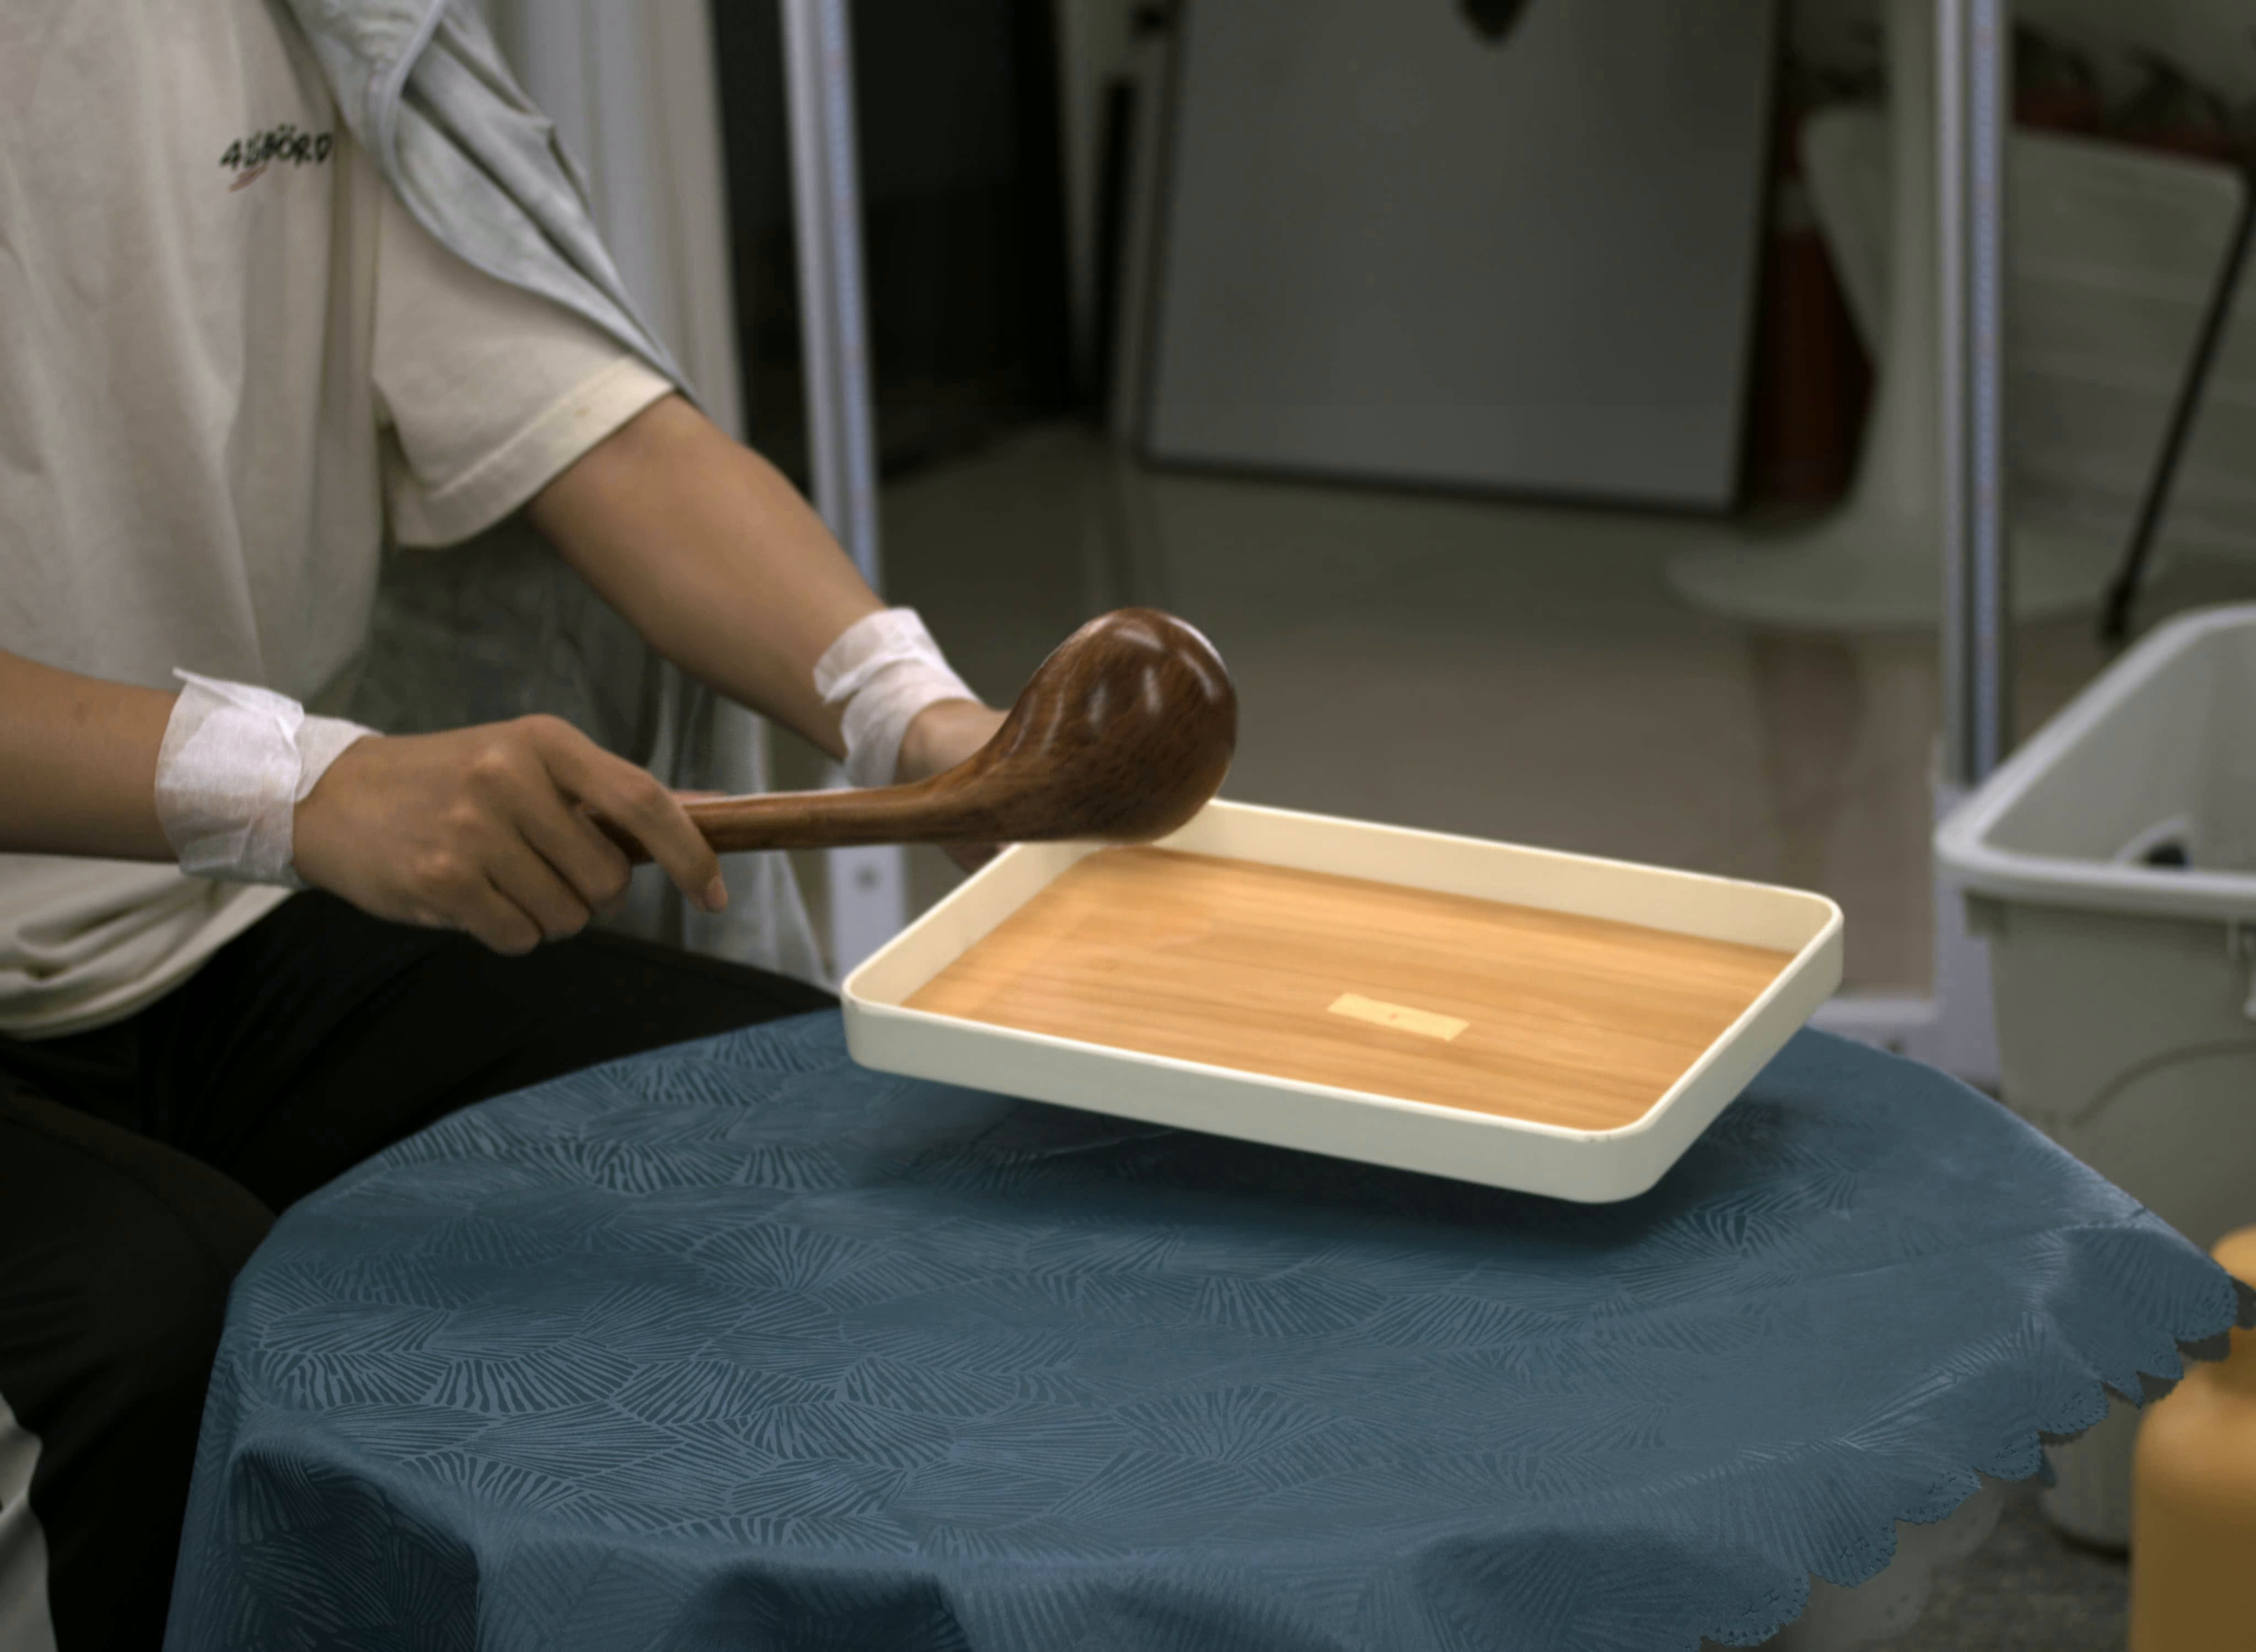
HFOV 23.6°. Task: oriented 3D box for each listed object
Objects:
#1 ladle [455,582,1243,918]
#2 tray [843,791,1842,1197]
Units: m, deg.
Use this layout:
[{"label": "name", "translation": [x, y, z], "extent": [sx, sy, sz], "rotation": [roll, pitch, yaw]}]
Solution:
[{"label": "ladle", "translation": [-0.092, -0.021, 1.768], "extent": [0.274, 0.082, 0.076], "rotation": [-9, 29, 26]}, {"label": "tray", "translation": [0.072, 0.051, 1.809], "extent": [0.301, 0.027, 0.189], "rotation": [9, 28, 30]}]
